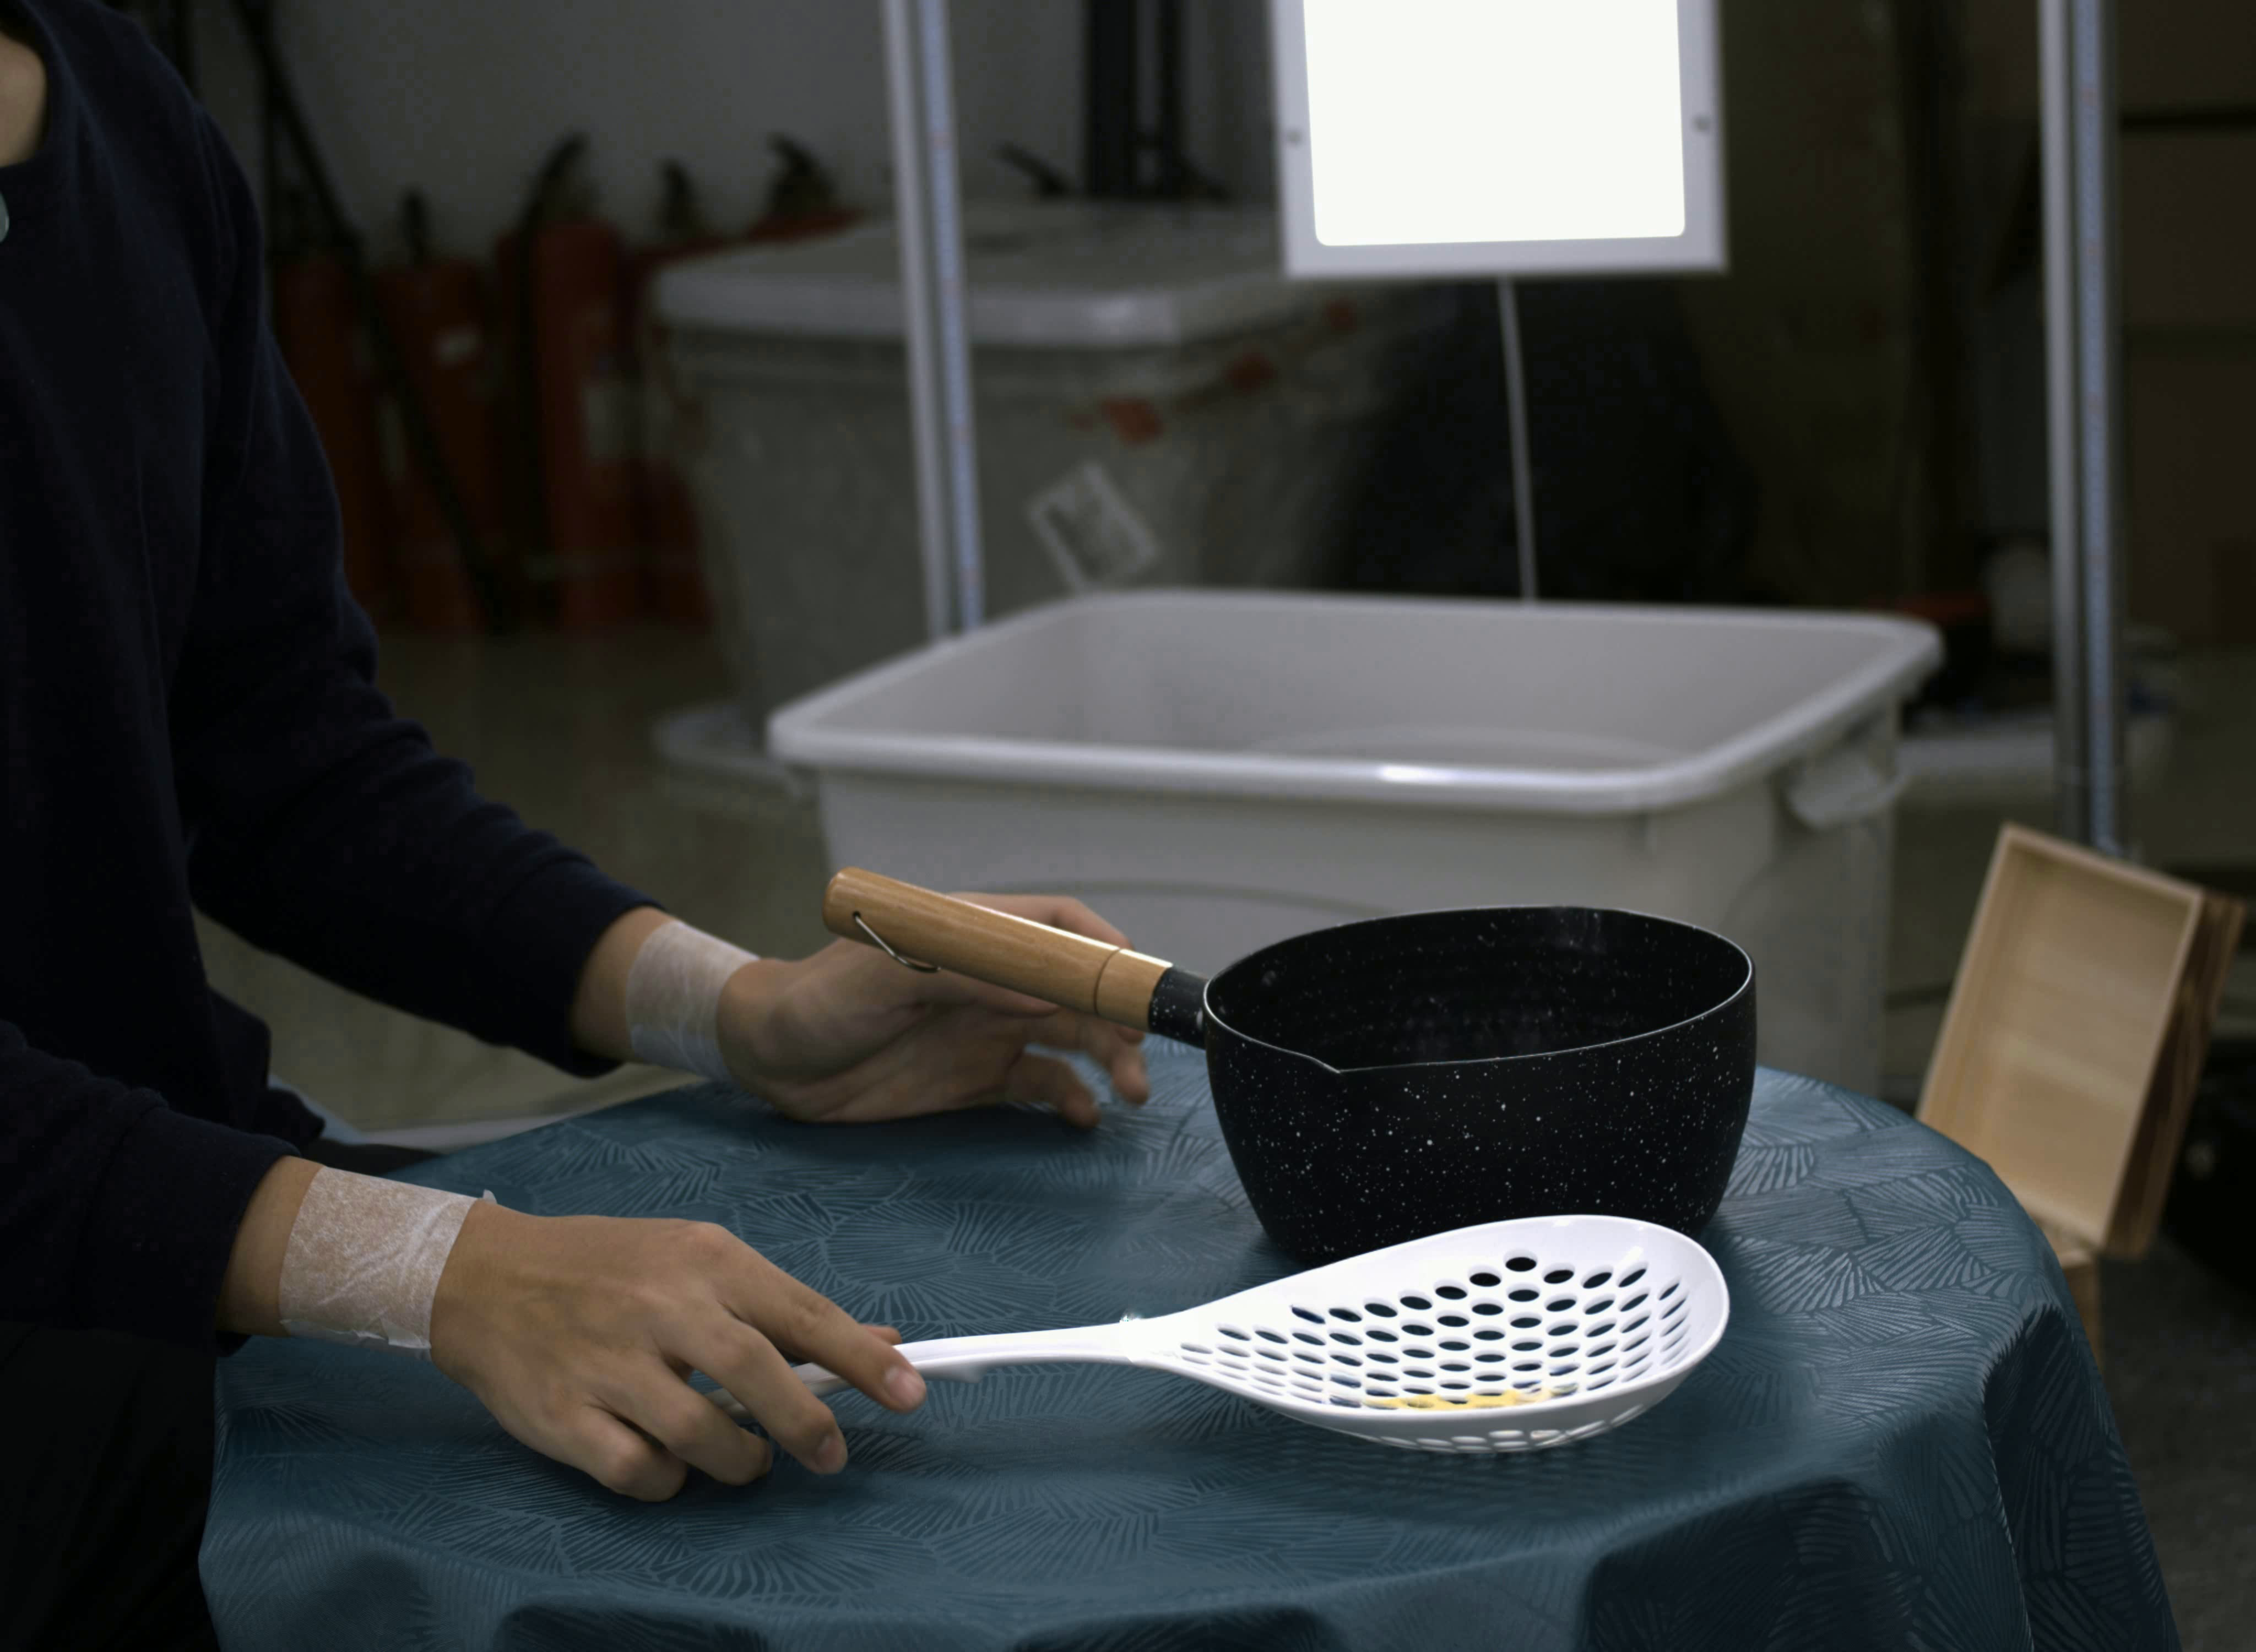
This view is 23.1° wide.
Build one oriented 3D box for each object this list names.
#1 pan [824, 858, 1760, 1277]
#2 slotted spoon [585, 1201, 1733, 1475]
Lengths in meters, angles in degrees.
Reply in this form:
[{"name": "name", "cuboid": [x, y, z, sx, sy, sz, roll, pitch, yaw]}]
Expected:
[{"name": "pan", "cuboid": [0.048, 0.076, 1.860, 0.349, 0.108, 0.203, 4, 17, 28]}, {"name": "slotted spoon", "cuboid": [0.008, 0.164, 1.650, 0.349, 0.050, 0.136, -2, 21, 7]}]
